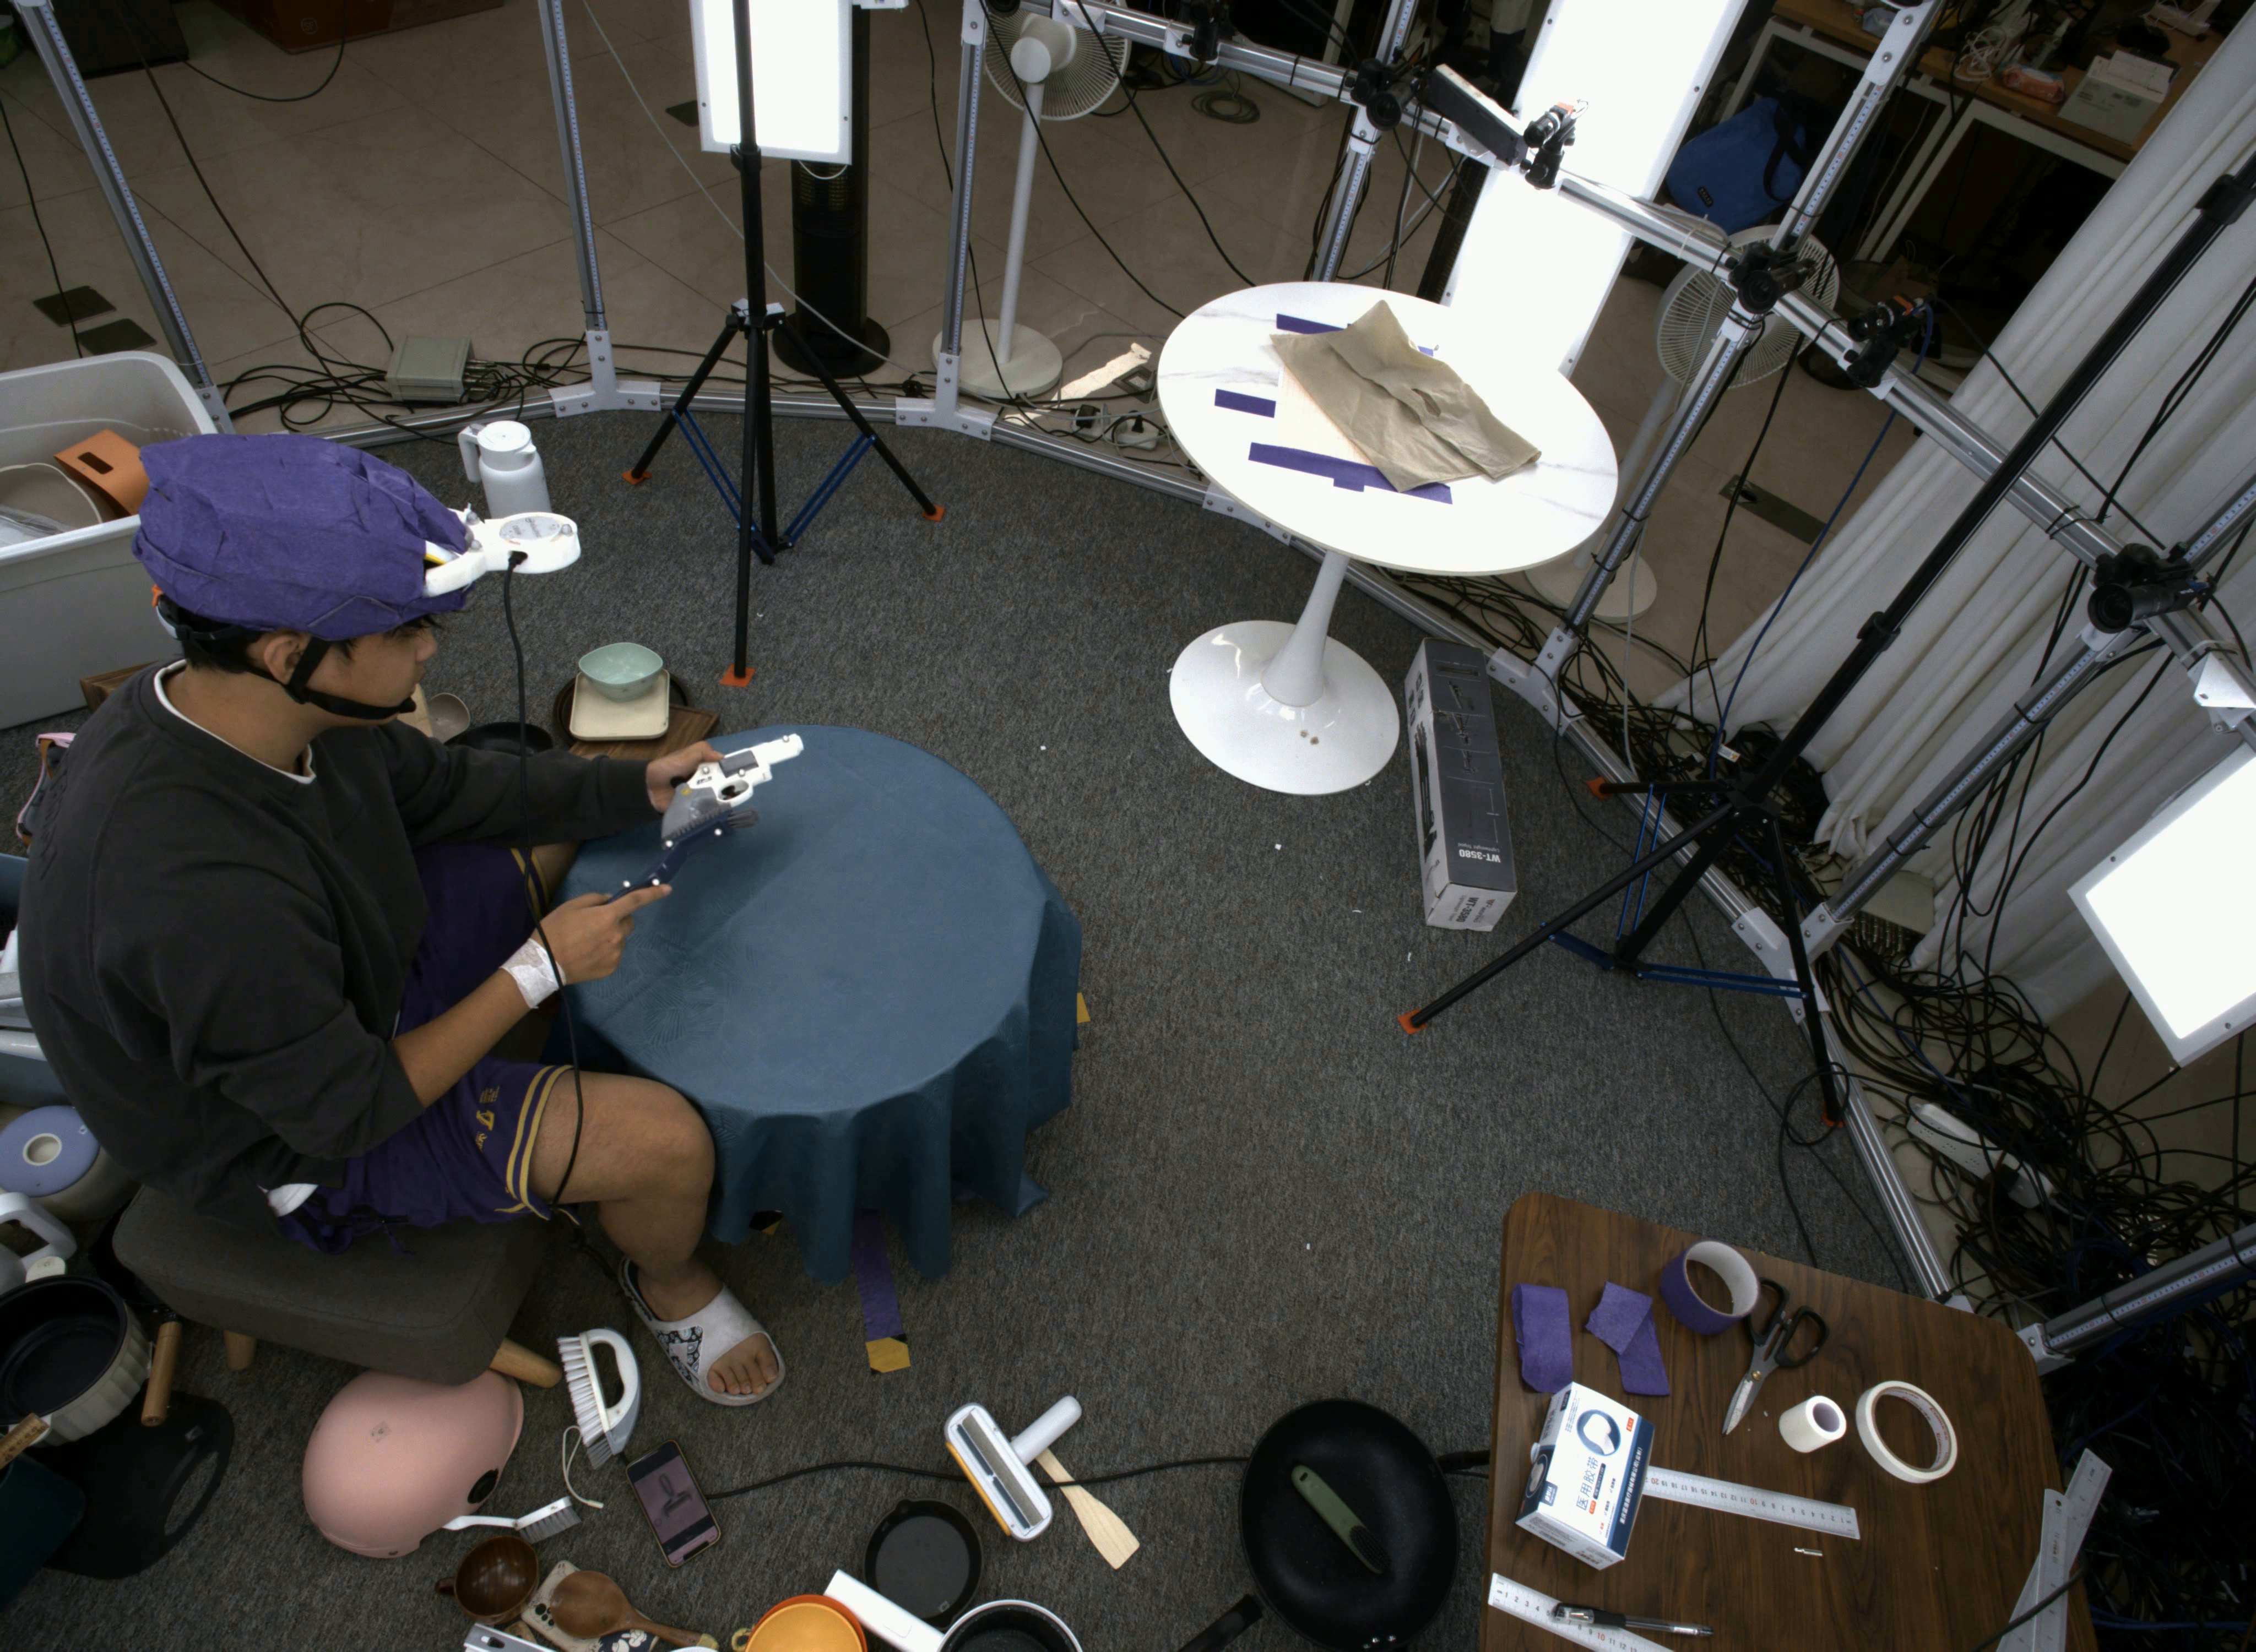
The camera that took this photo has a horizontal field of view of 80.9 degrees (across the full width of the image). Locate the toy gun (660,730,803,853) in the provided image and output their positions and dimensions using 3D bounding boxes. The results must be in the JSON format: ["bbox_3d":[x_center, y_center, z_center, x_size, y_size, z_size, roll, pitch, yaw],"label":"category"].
[{"bbox_3d":[-0.488,-0.049,1.588,0.209,0.040,0.136,-23,43,-19],"label":"toy gun"}]

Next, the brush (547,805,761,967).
[{"bbox_3d":[-0.540,0.064,1.441,0.092,0.035,0.273,22,56,35],"label":"brush"}]
